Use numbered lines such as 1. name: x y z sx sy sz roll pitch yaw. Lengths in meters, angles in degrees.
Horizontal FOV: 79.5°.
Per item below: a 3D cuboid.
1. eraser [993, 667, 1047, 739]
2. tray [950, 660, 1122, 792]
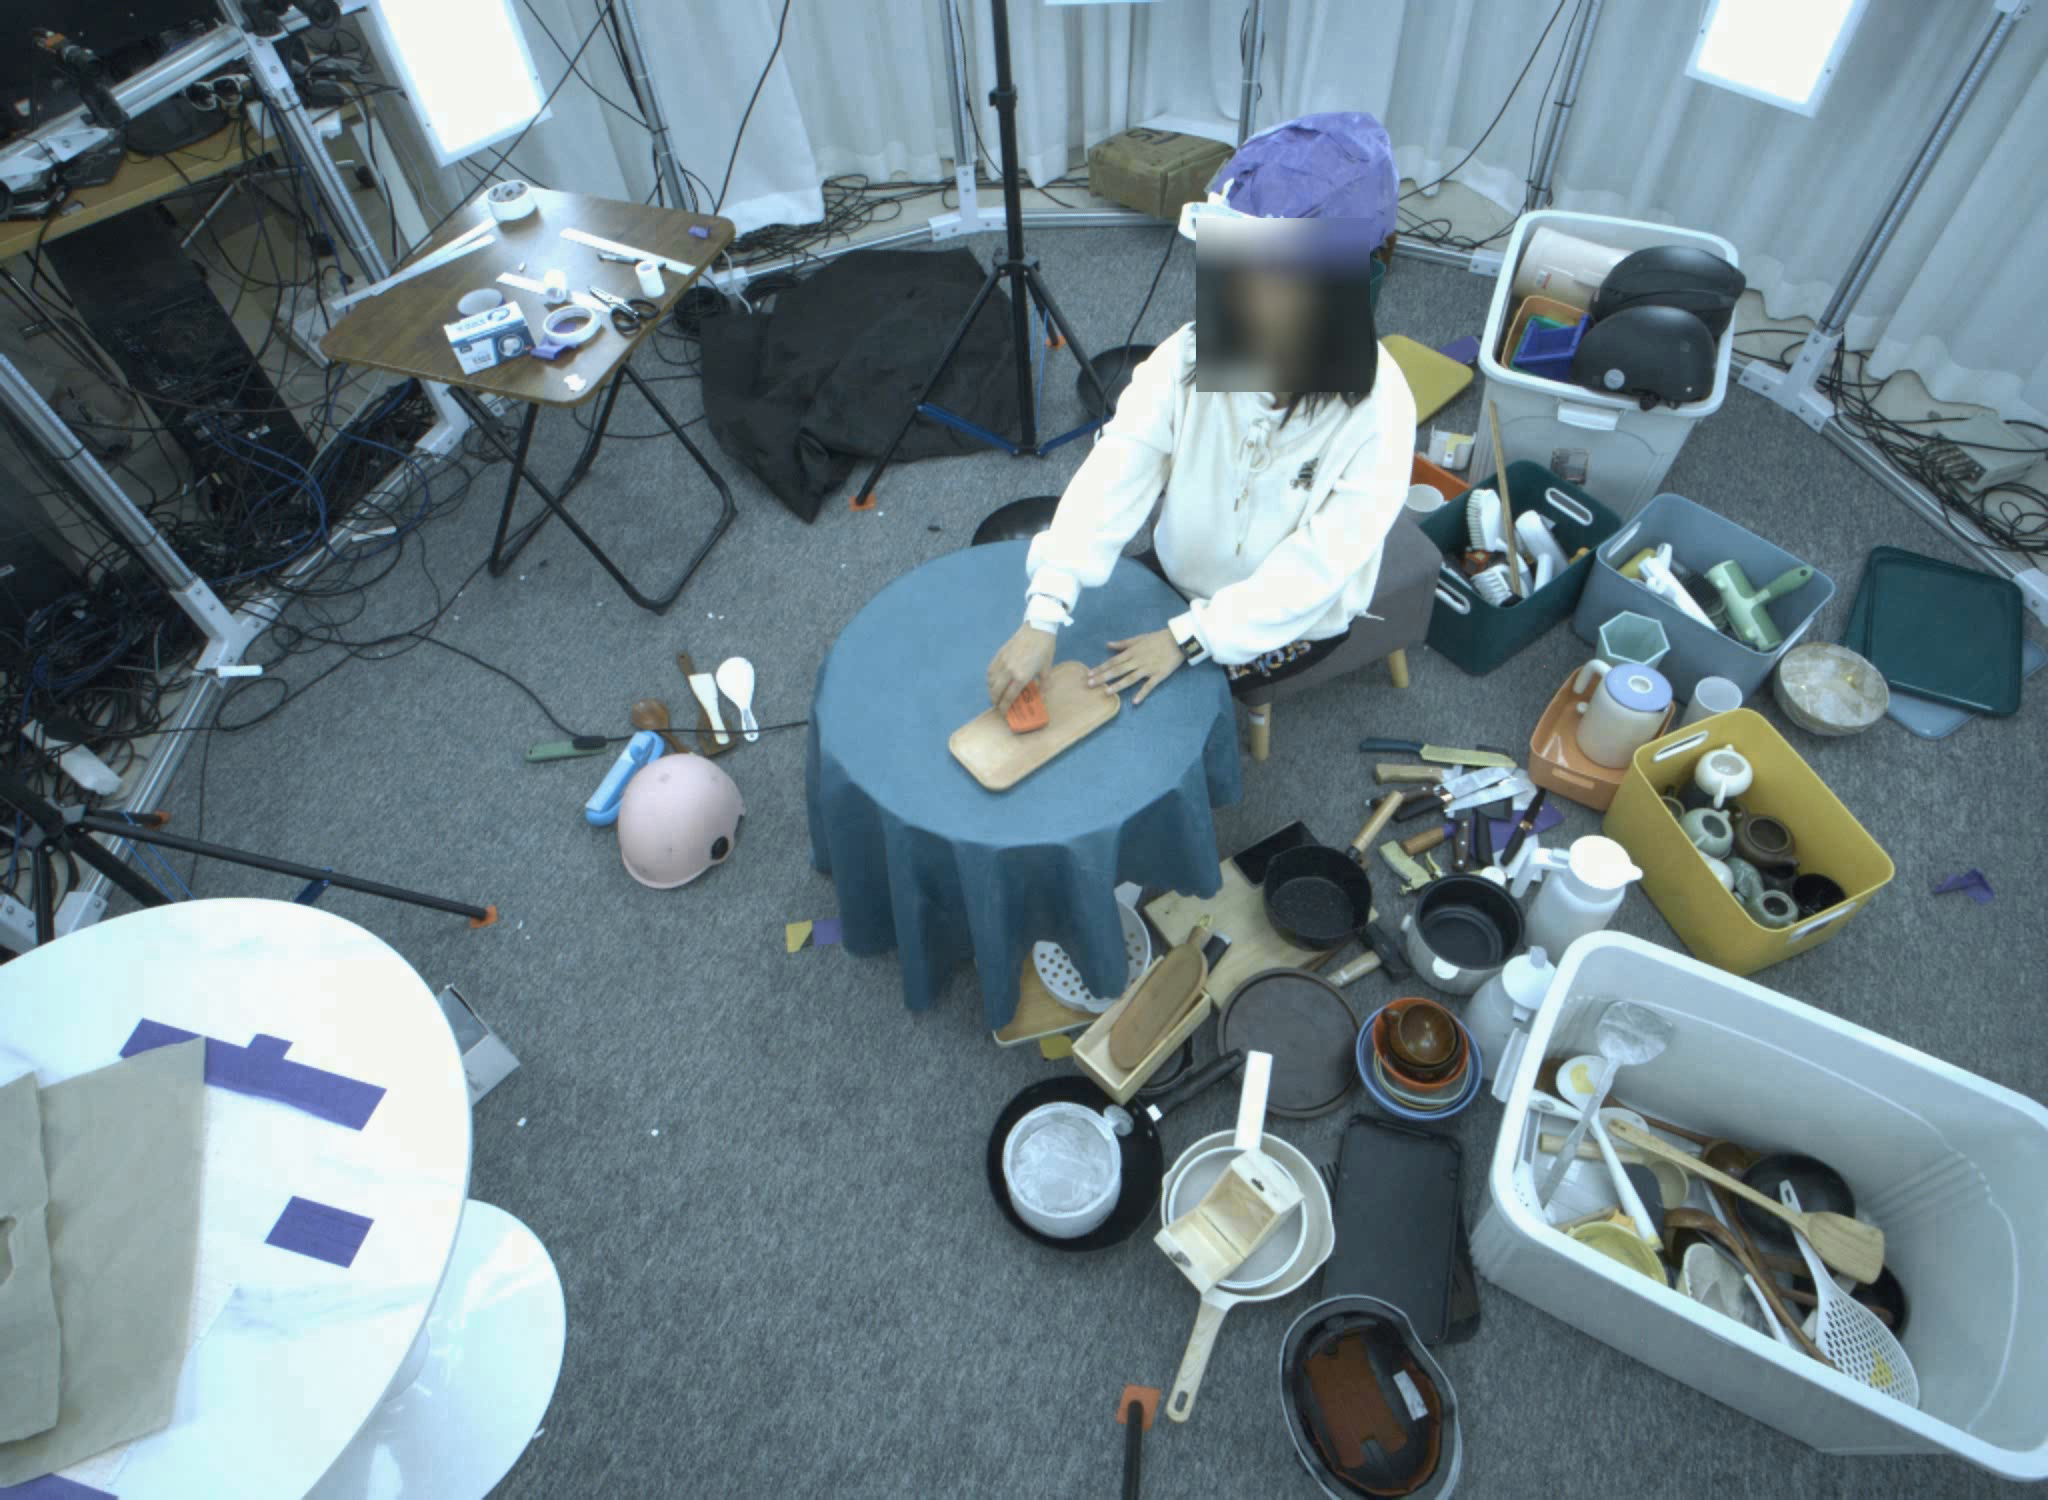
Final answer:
1. eraser: -0.007 -0.070 1.809 0.059 0.023 0.106 -14 61 -9
2. tray: 0.018 -0.037 1.802 0.253 0.023 0.128 -33 63 -20
